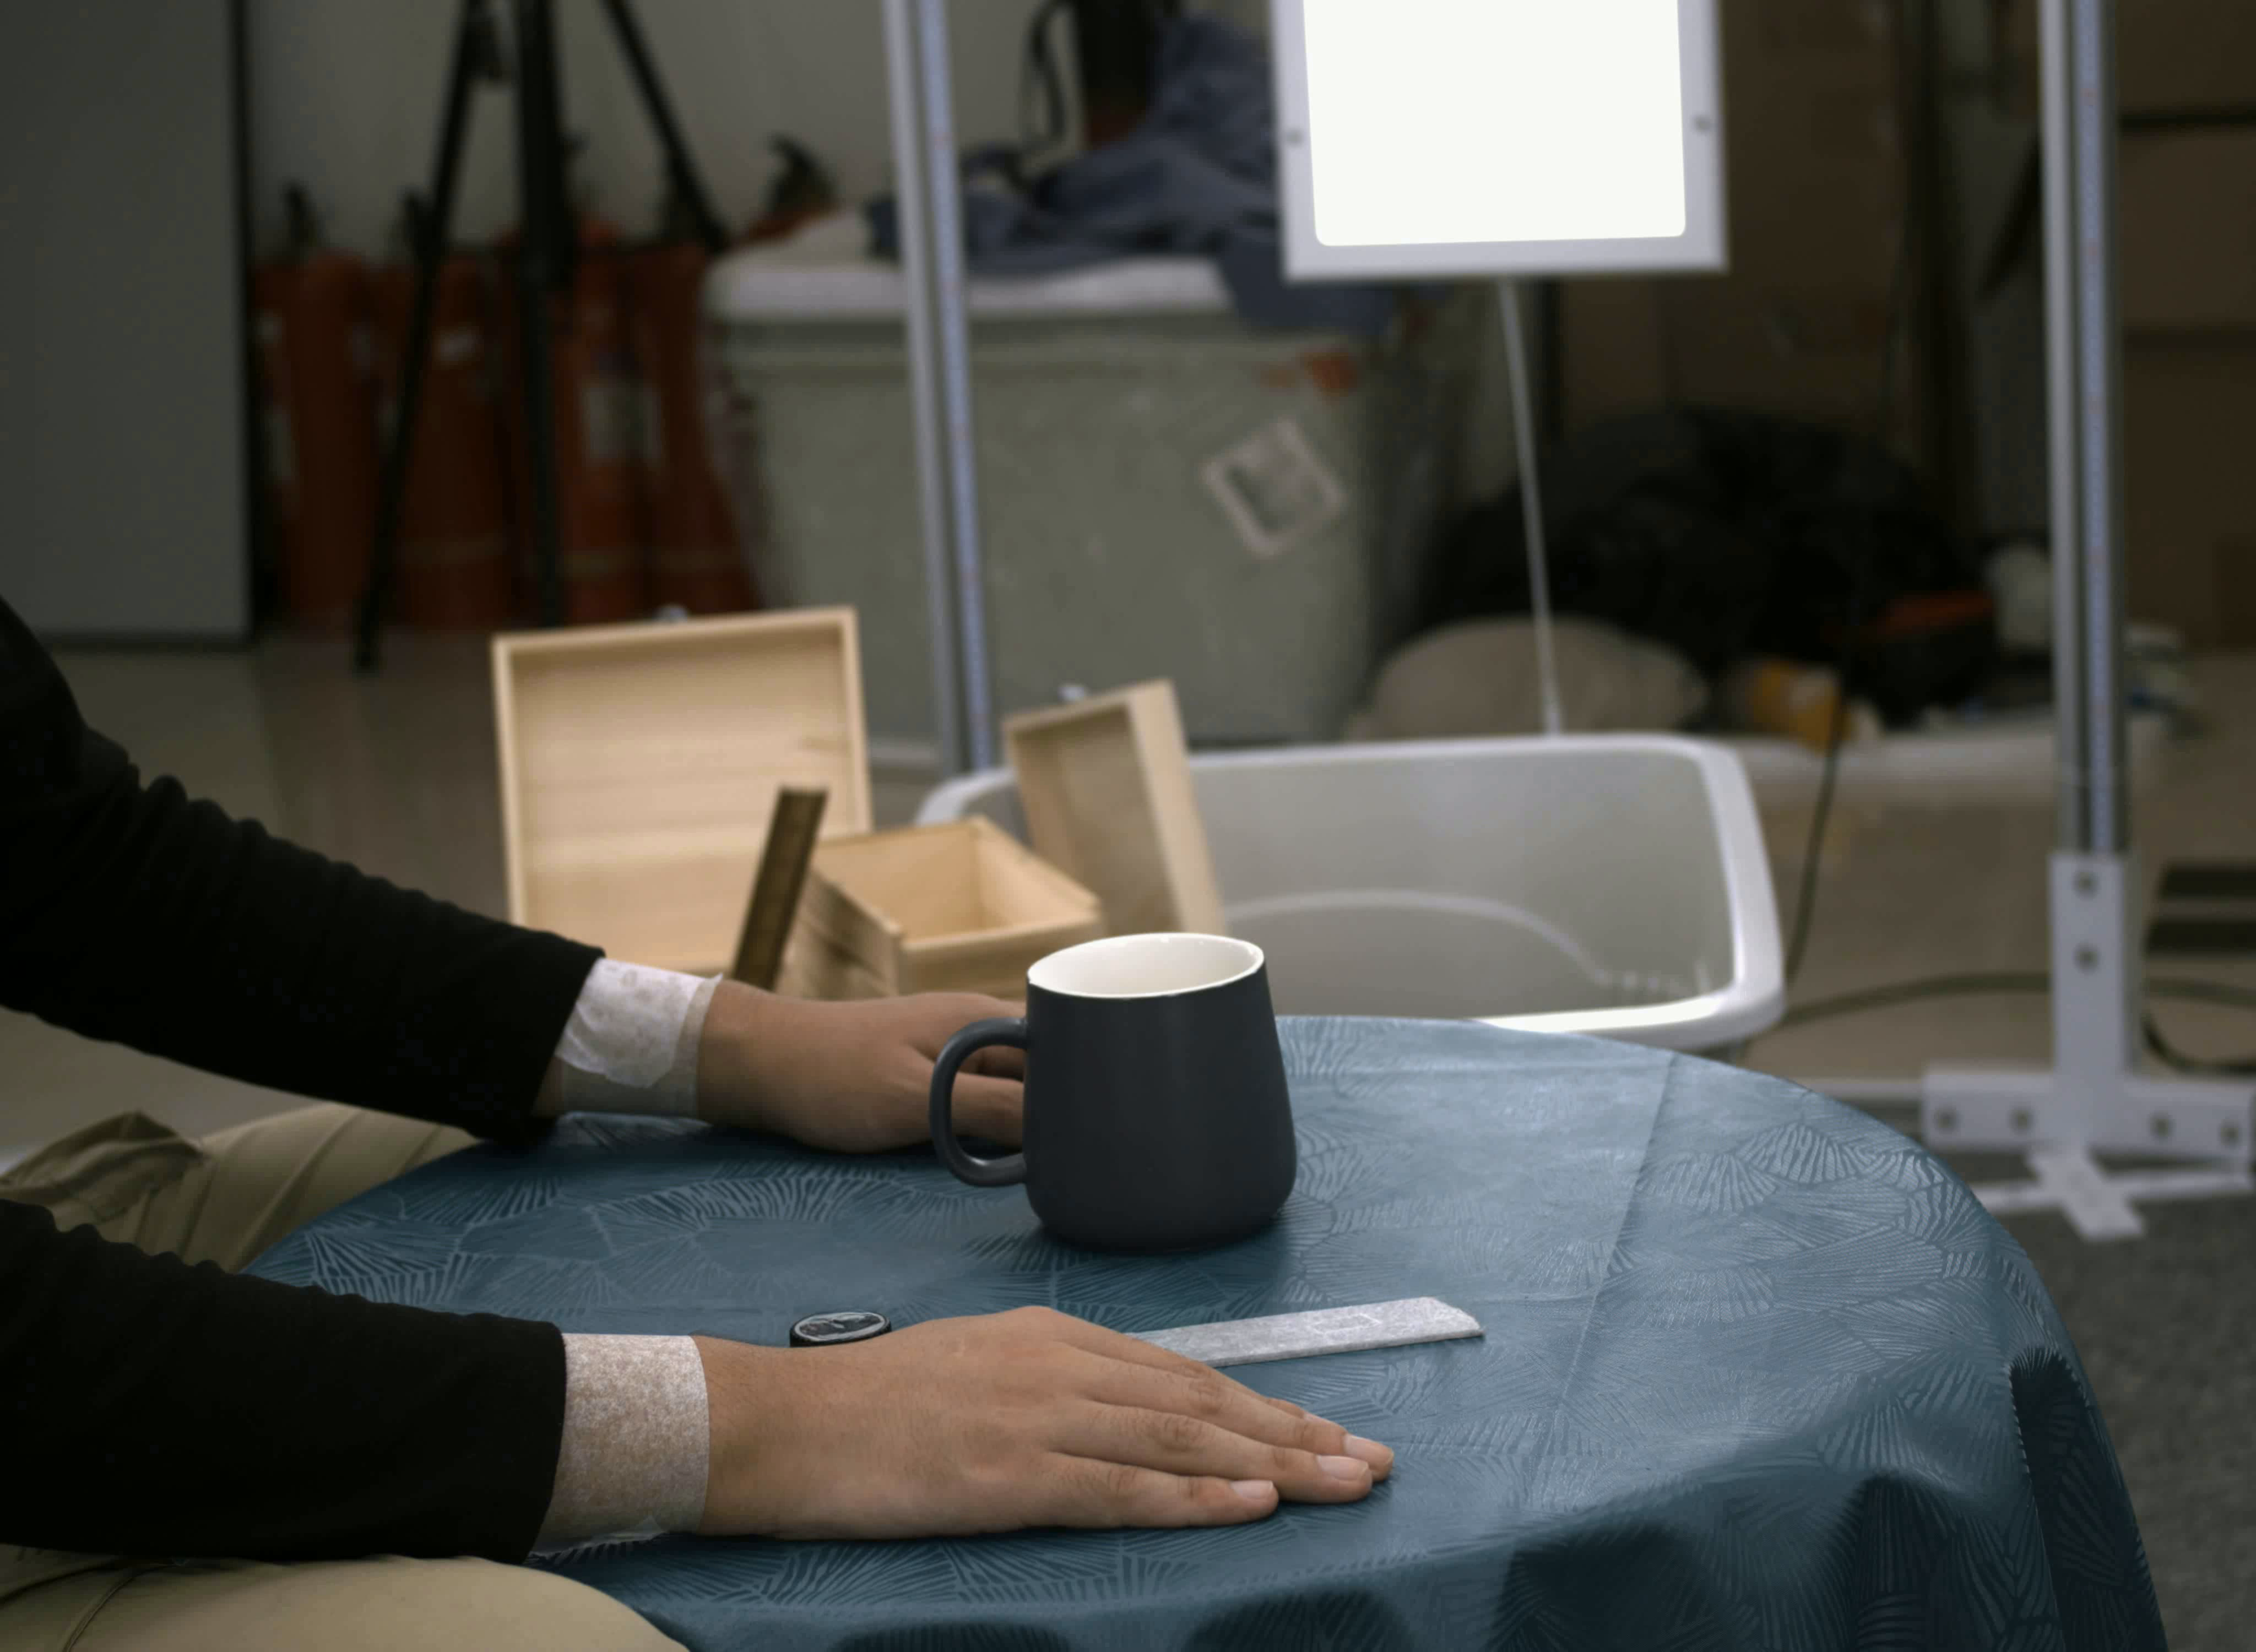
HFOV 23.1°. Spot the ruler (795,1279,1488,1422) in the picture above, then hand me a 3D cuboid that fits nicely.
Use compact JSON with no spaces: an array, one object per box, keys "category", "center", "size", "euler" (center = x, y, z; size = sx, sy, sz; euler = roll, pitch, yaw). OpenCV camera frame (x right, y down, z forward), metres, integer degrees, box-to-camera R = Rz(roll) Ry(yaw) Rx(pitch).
[{"category":"ruler","center":[0.003,0.157,1.727],"size":[0.217,0.024,0.038],"euler":[-7,20,-4]}]

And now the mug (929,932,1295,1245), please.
[{"category":"mug","center":[-0.006,0.089,1.856],"size":[0.123,0.090,0.093],"euler":[-4,13,0]}]
